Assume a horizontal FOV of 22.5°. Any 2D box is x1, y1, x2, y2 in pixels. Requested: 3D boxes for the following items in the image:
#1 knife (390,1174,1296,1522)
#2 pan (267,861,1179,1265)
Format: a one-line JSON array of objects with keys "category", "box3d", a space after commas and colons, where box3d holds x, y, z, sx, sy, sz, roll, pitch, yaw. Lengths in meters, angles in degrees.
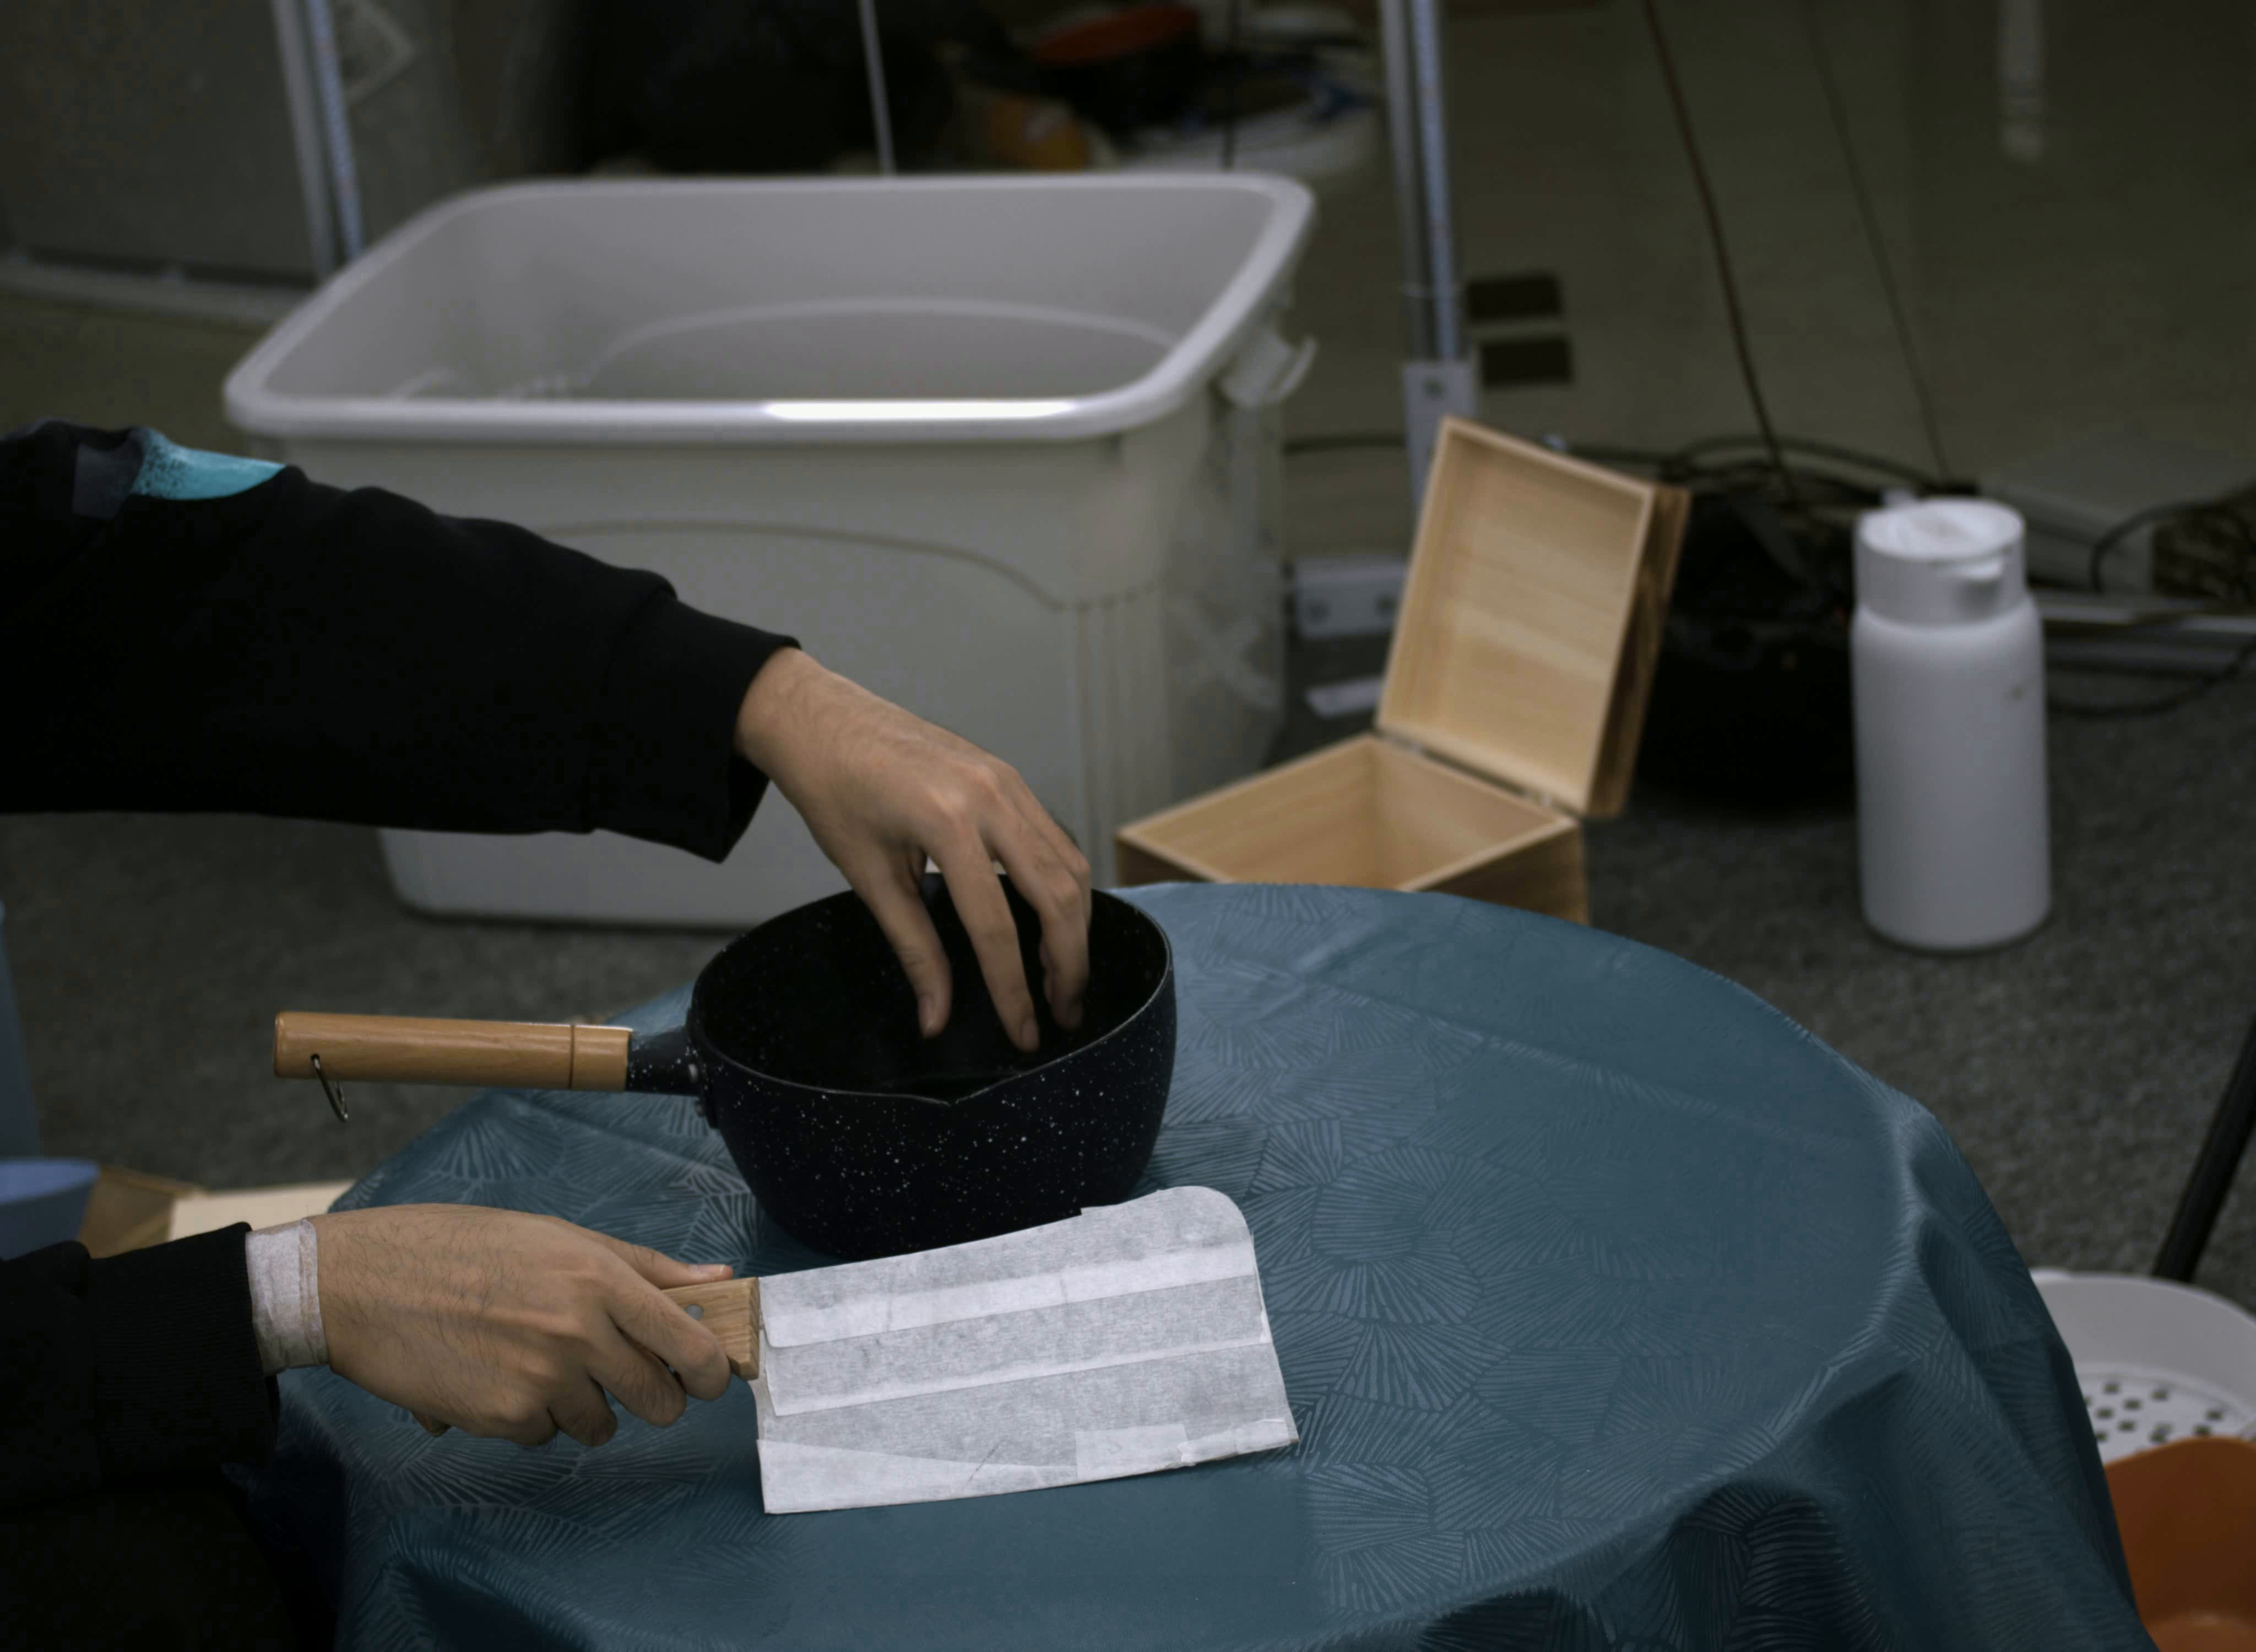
[{"category": "knife", "box3d": [-0.101, 0.186, 1.981, 0.315, 0.022, 0.112, -5, 69, 2]}, {"category": "pan", "box3d": [-0.149, 0.096, 2.143, 0.342, 0.110, 0.204, -8, 26, -7]}]
